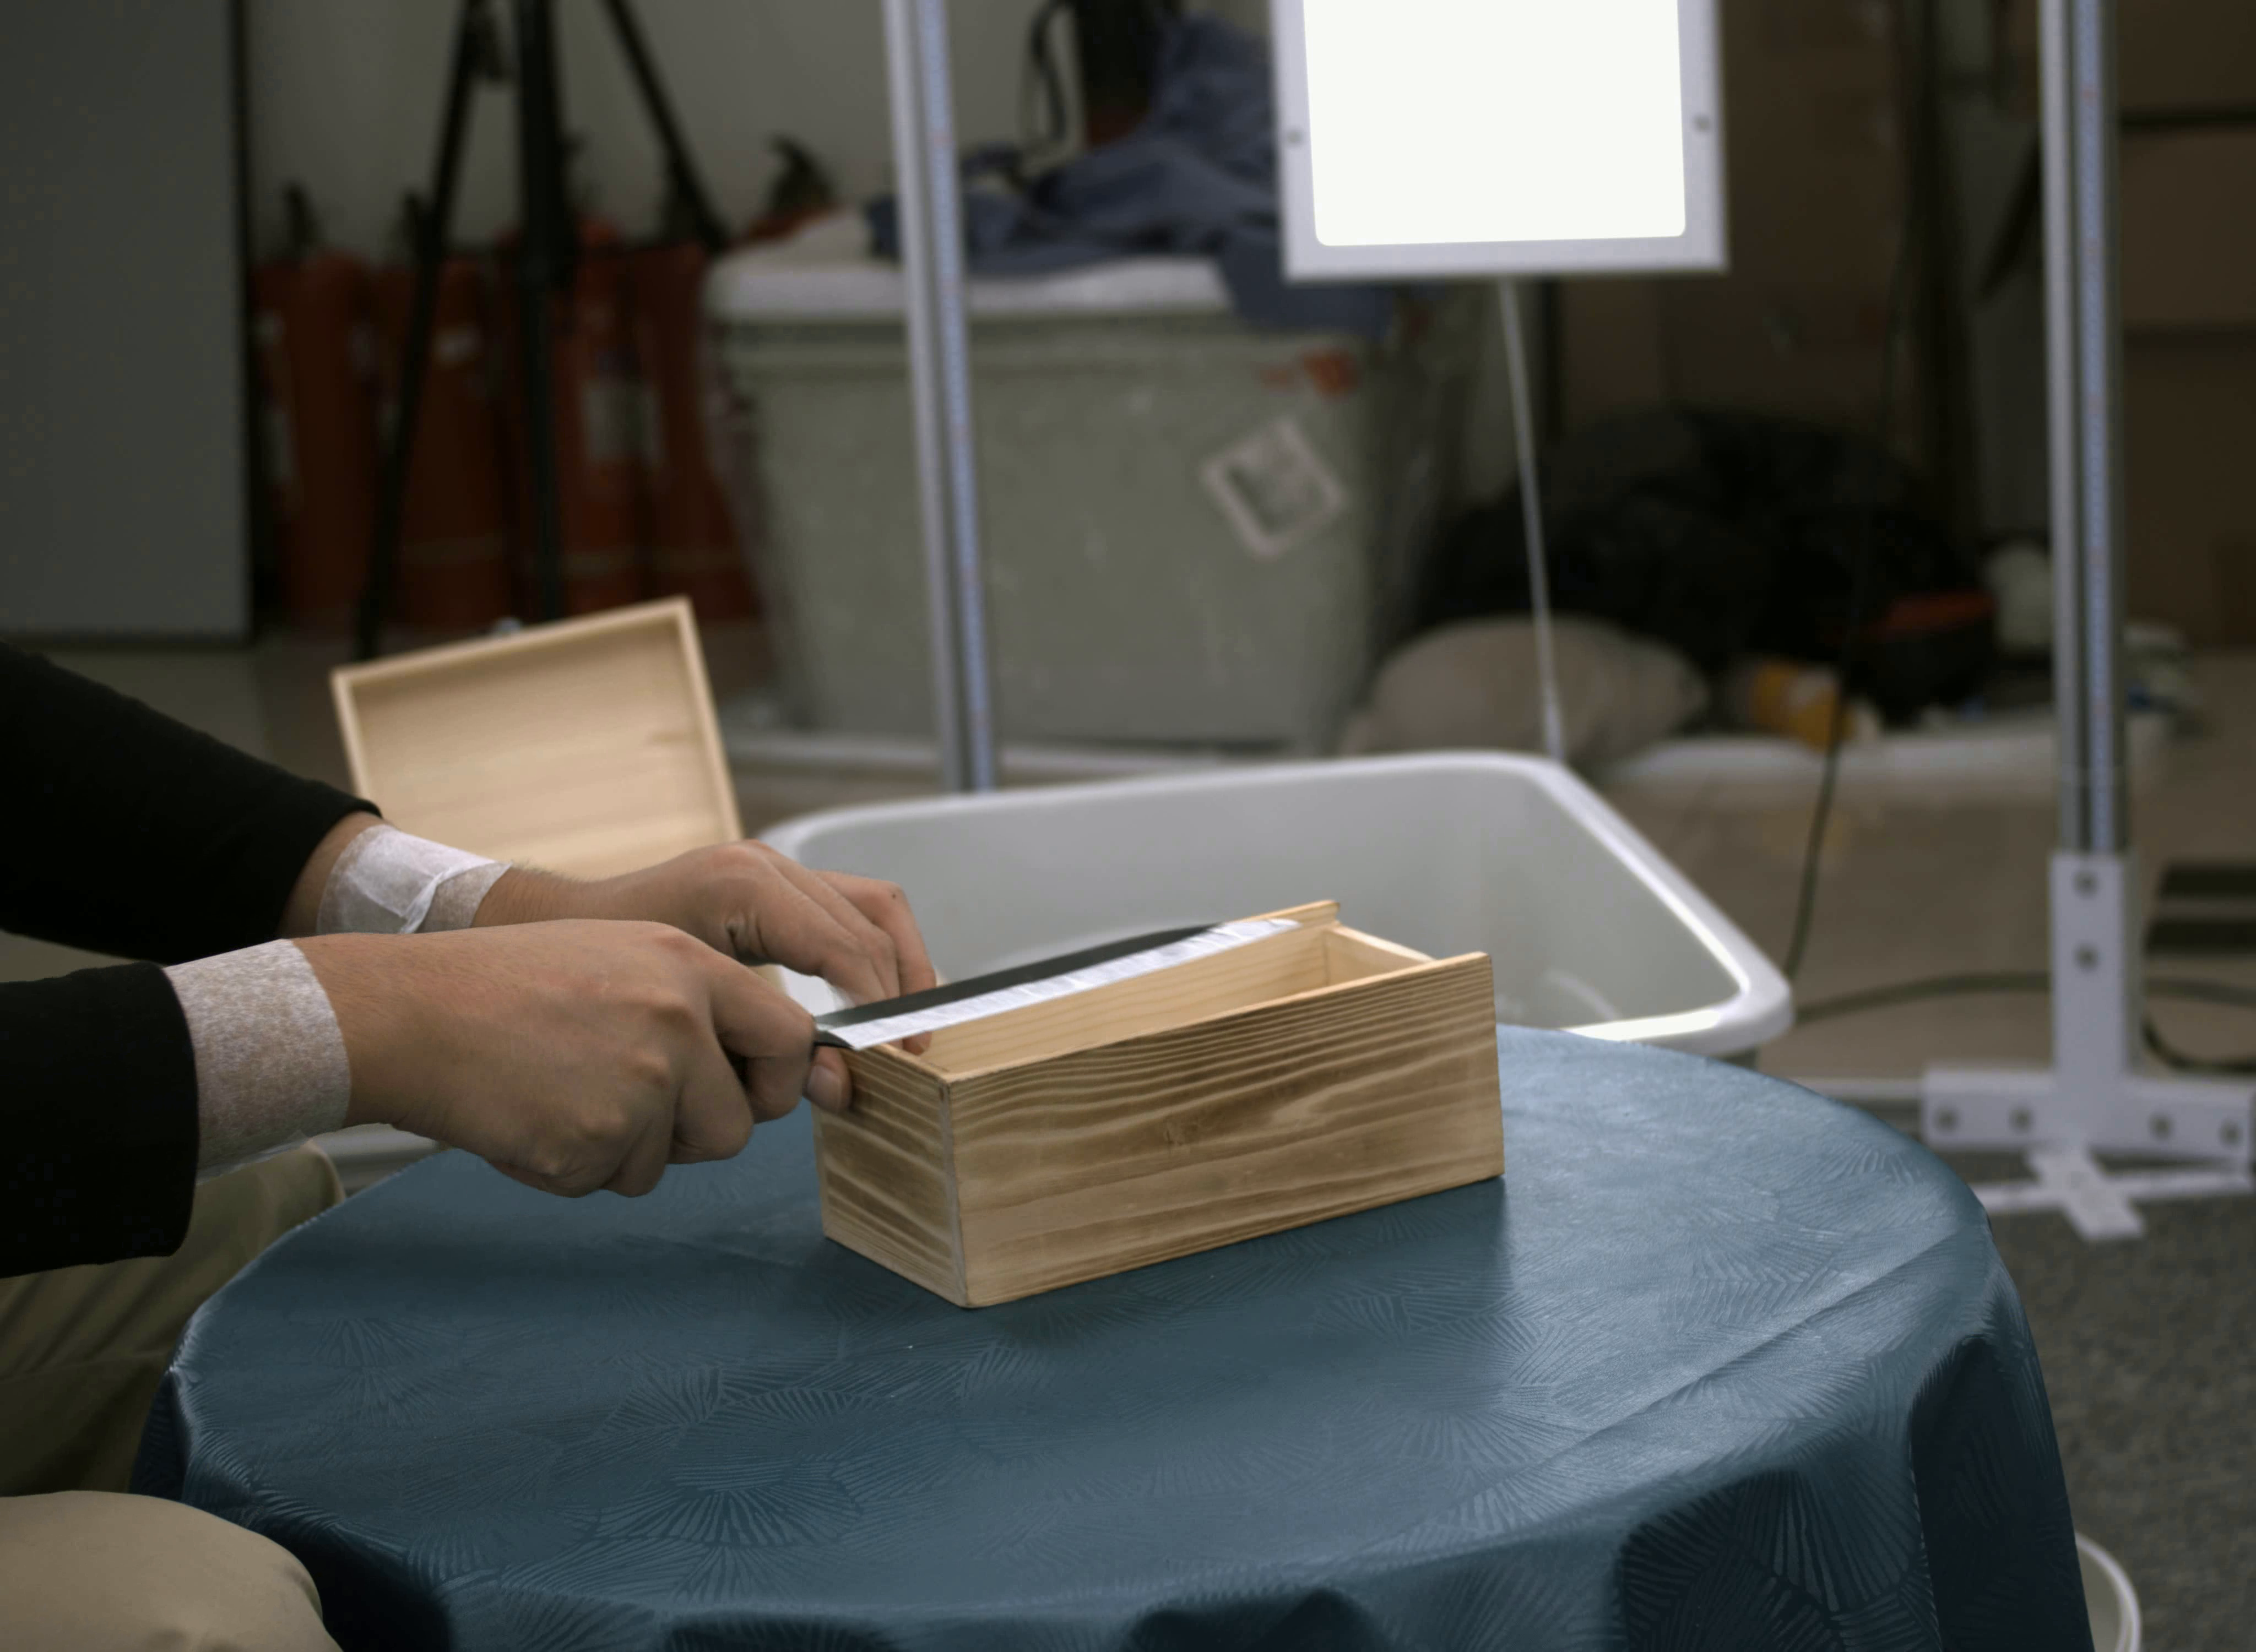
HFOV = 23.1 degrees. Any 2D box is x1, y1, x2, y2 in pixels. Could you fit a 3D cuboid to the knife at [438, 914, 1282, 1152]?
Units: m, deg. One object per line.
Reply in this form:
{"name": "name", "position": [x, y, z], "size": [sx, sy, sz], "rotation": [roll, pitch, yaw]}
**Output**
{"name": "knife", "position": [-0.079, 0.060, 1.730], "size": [0.283, 0.020, 0.051], "rotation": [-13, 15, -22]}

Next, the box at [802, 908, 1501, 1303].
{"name": "box", "position": [0.009, 0.092, 1.868], "size": [0.207, 0.080, 0.109], "rotation": [-11, 14, -26]}
